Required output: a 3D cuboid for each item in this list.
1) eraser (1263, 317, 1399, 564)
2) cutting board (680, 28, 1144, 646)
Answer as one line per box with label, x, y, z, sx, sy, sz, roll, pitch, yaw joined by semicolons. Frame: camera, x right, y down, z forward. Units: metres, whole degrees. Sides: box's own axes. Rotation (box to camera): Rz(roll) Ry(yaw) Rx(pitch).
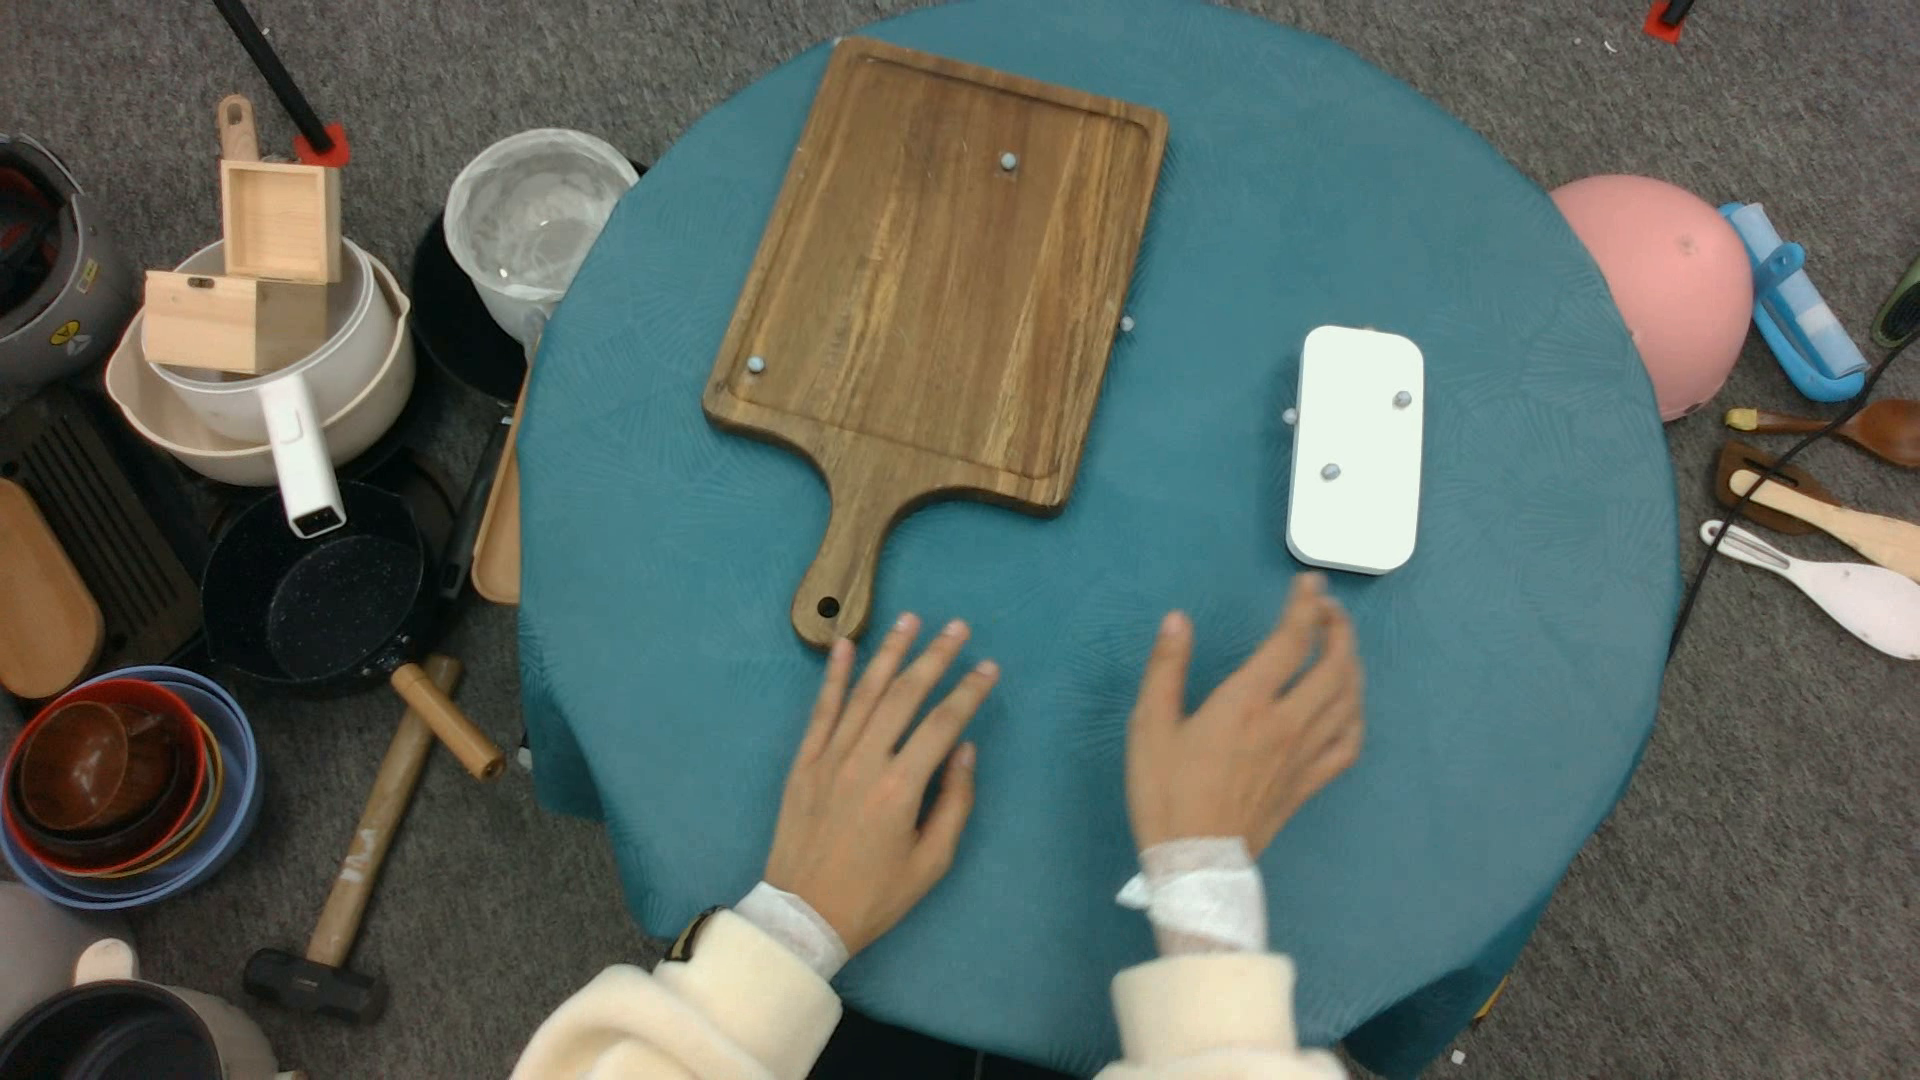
eraser;0.189;-0.053;0.707;0.063;0.034;0.132;10;69;1
cutting board;-0.032;-0.112;0.724;0.201;0.023;0.353;14;69;3
